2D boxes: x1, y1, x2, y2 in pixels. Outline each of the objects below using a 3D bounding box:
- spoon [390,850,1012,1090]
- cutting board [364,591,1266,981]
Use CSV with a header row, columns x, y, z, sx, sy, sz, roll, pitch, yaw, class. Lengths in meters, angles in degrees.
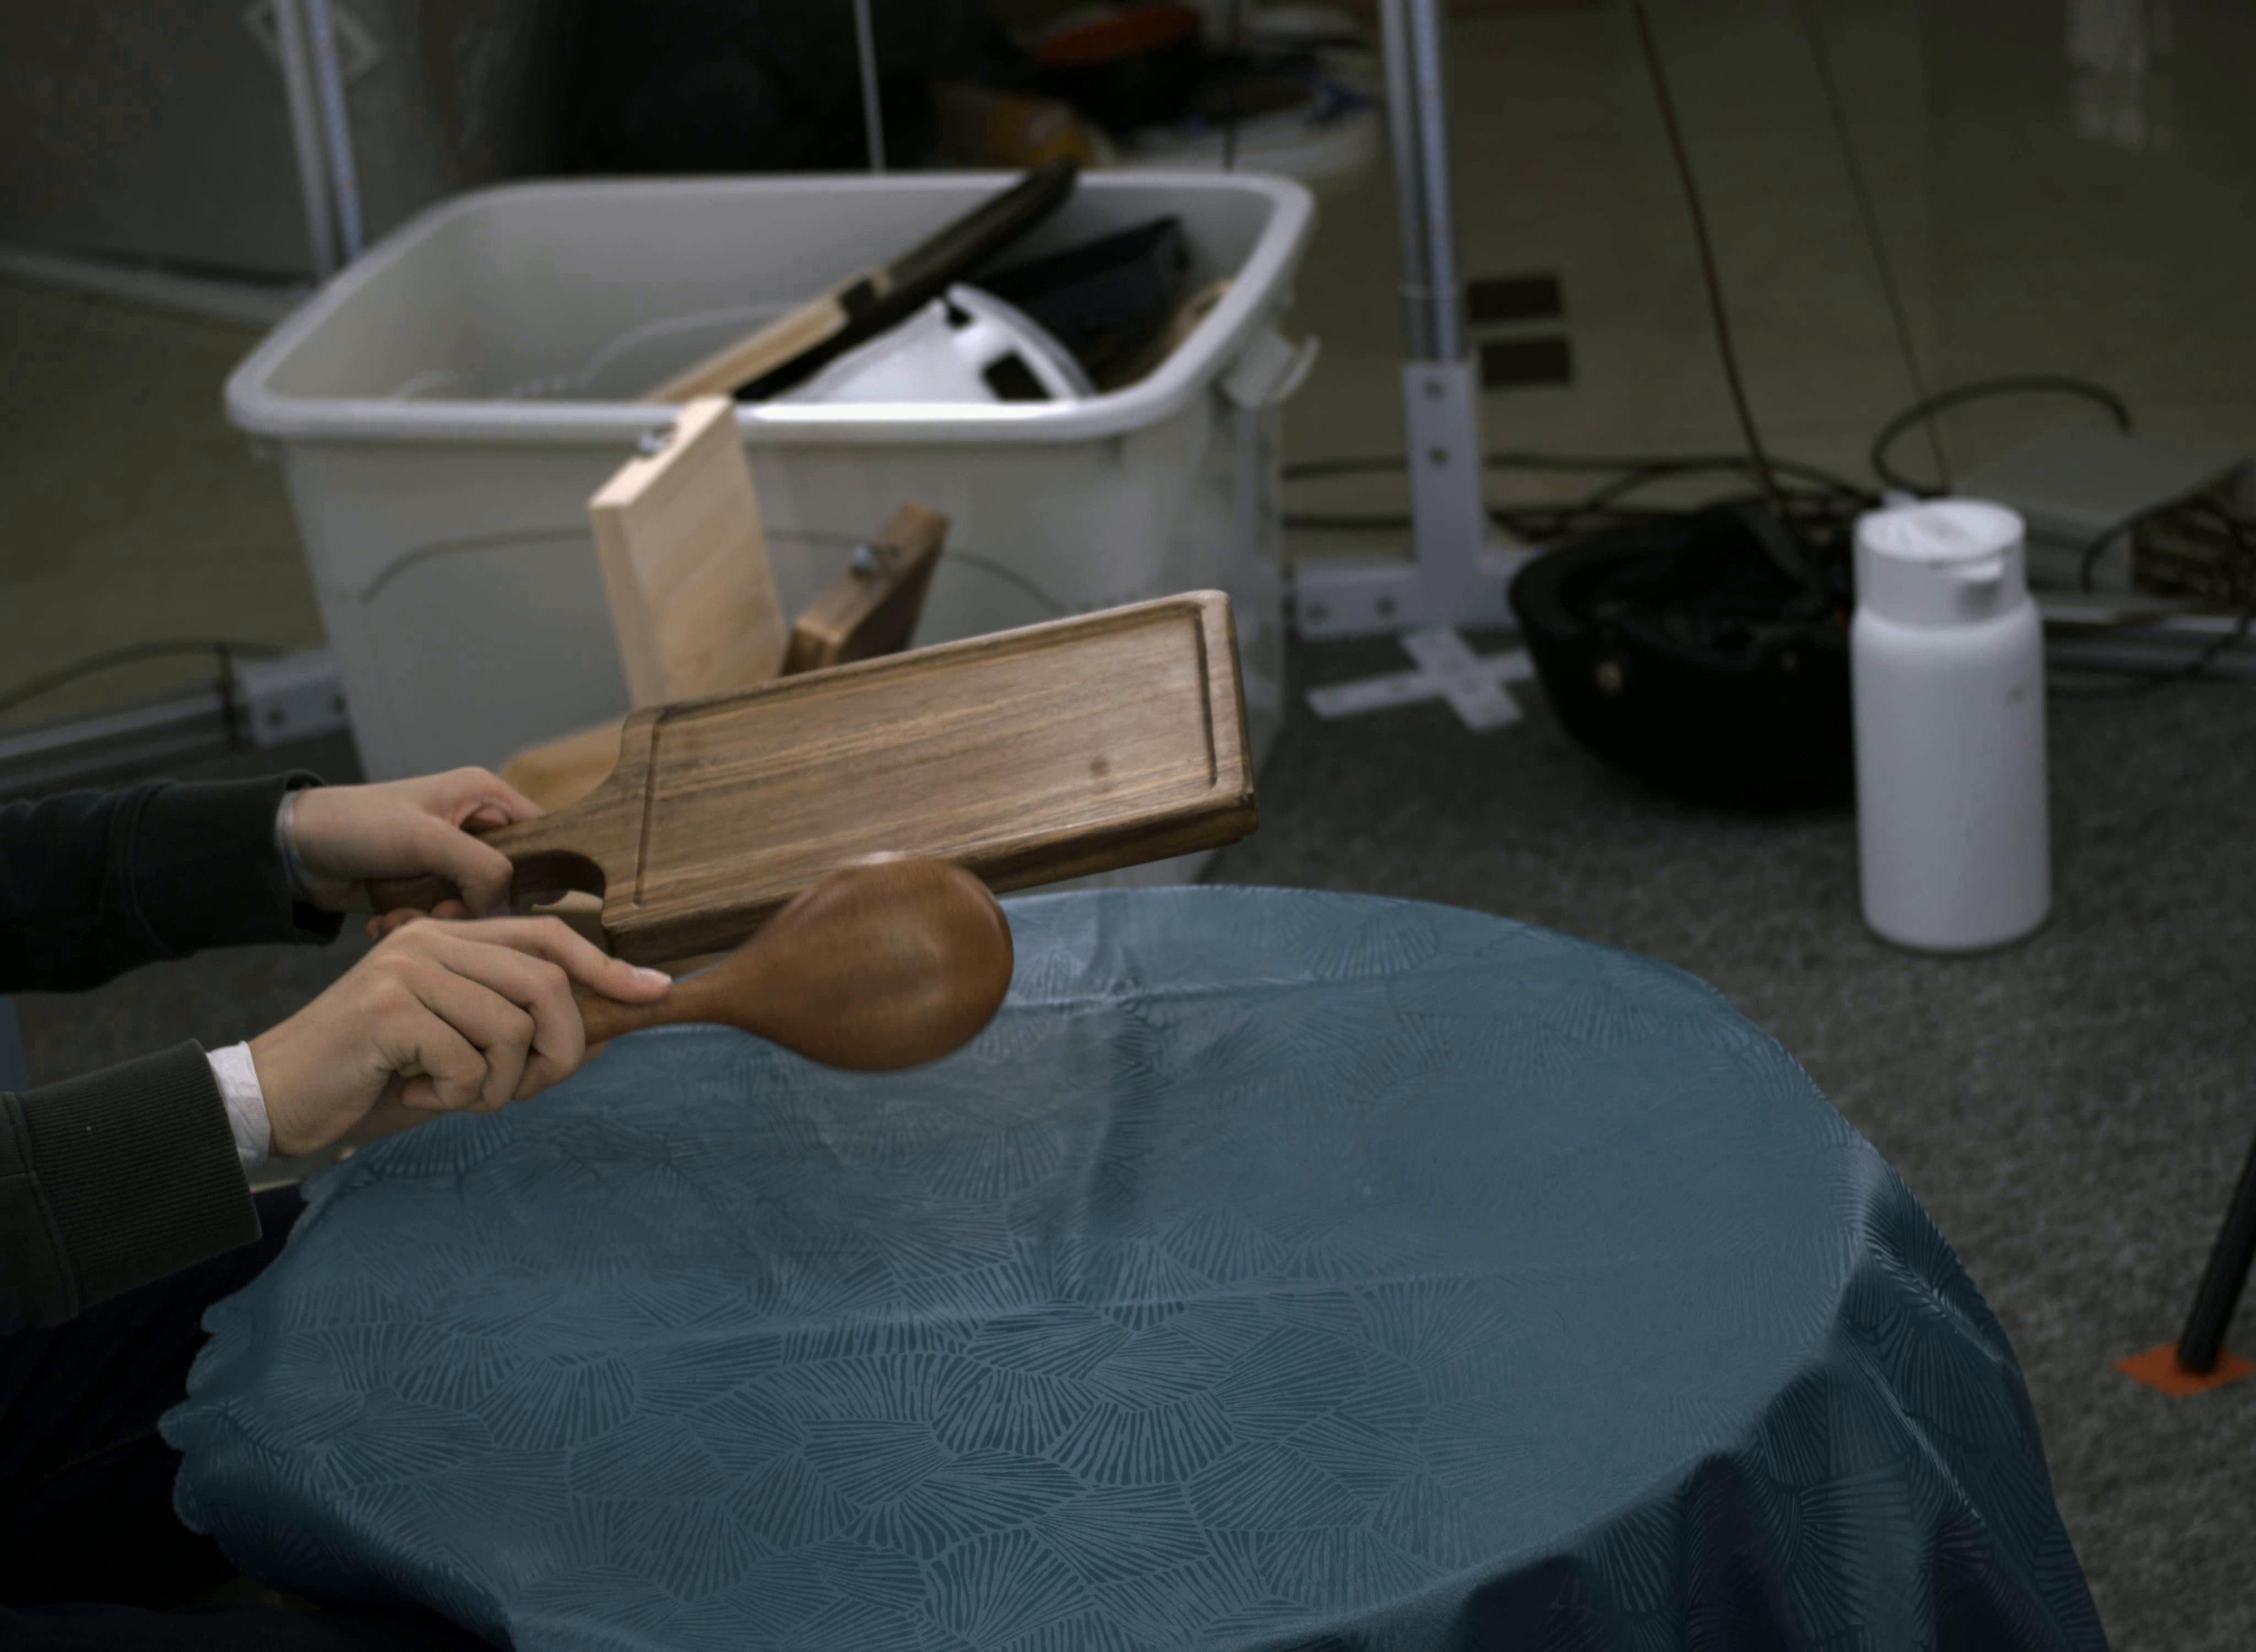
x,y,z,sx,sy,sz,roll,pitch,yaw,class
-0.138,0.056,1.875,0.215,0.076,0.017,-11,19,-18,spoon
-0.124,-0.009,2.196,0.352,0.023,0.198,-12,28,4,cutting board
